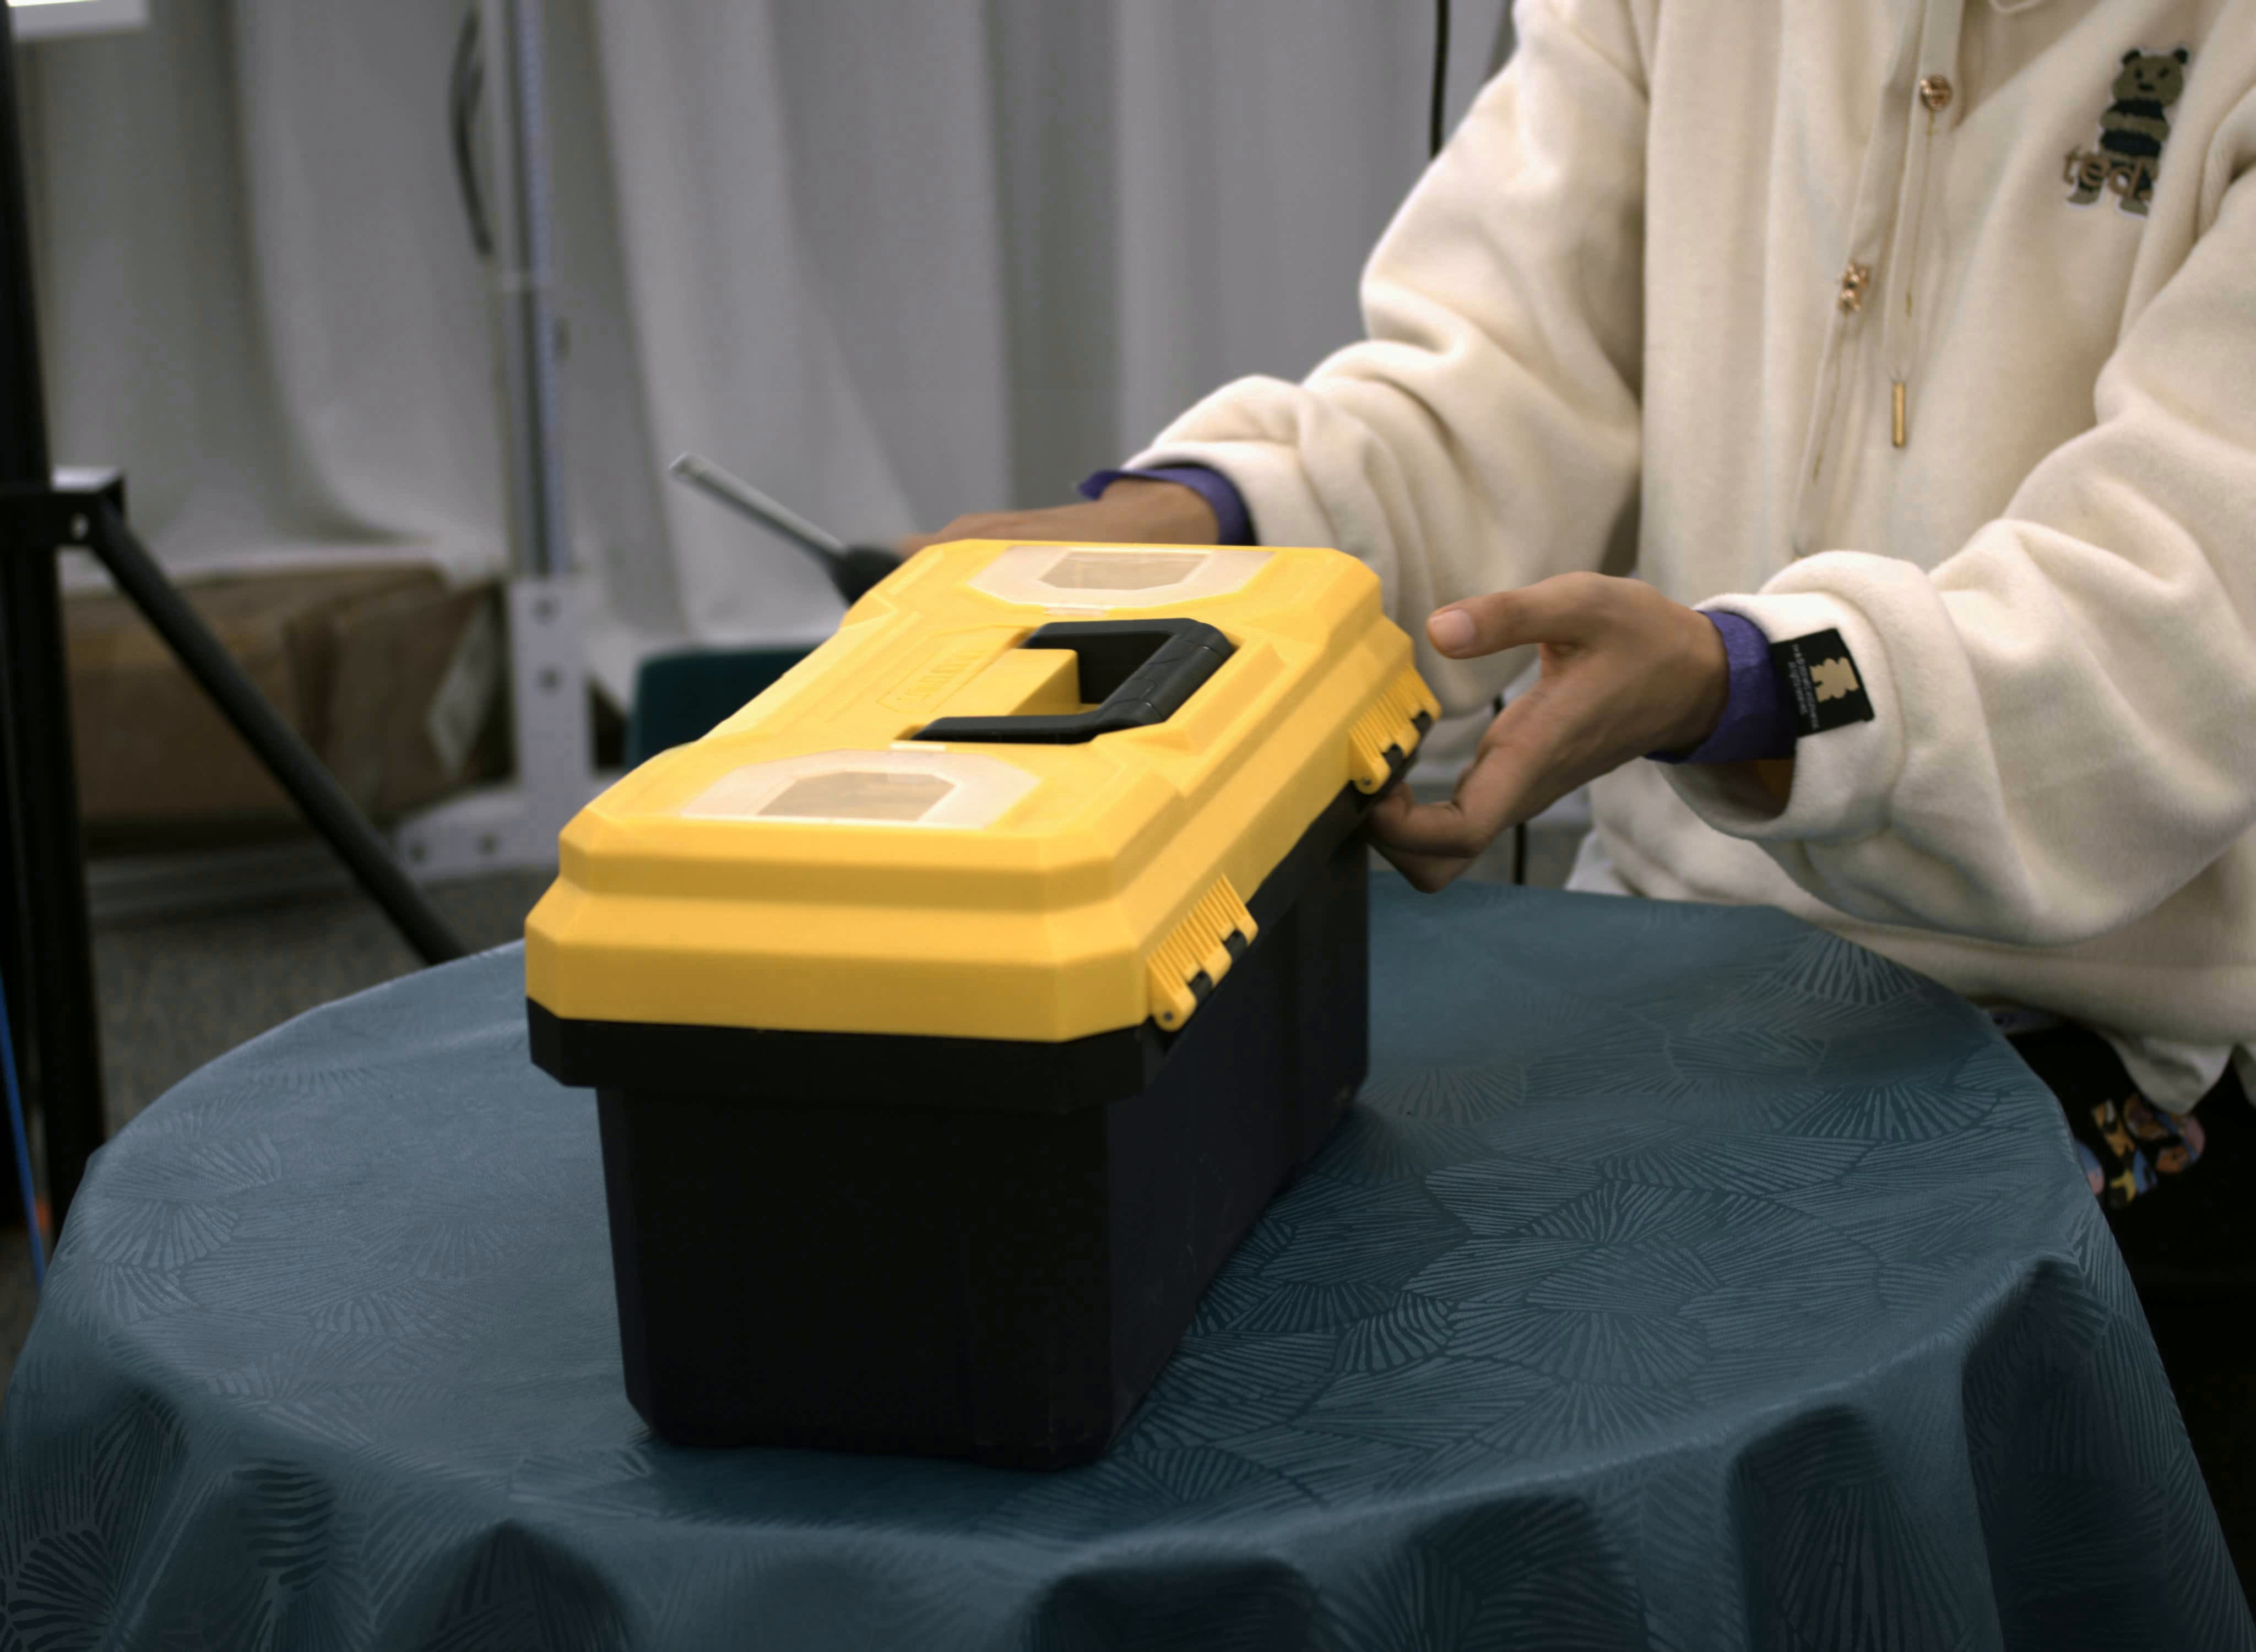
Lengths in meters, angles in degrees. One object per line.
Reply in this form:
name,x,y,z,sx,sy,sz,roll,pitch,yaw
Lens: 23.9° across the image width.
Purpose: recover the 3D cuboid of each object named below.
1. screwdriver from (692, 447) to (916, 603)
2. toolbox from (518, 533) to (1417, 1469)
screwdriver,-0.088,-0.090,1.747,0.032,0.031,0.191,11,-14,38
toolbox,-0.033,0.039,1.490,0.183,0.173,0.348,2,16,16
